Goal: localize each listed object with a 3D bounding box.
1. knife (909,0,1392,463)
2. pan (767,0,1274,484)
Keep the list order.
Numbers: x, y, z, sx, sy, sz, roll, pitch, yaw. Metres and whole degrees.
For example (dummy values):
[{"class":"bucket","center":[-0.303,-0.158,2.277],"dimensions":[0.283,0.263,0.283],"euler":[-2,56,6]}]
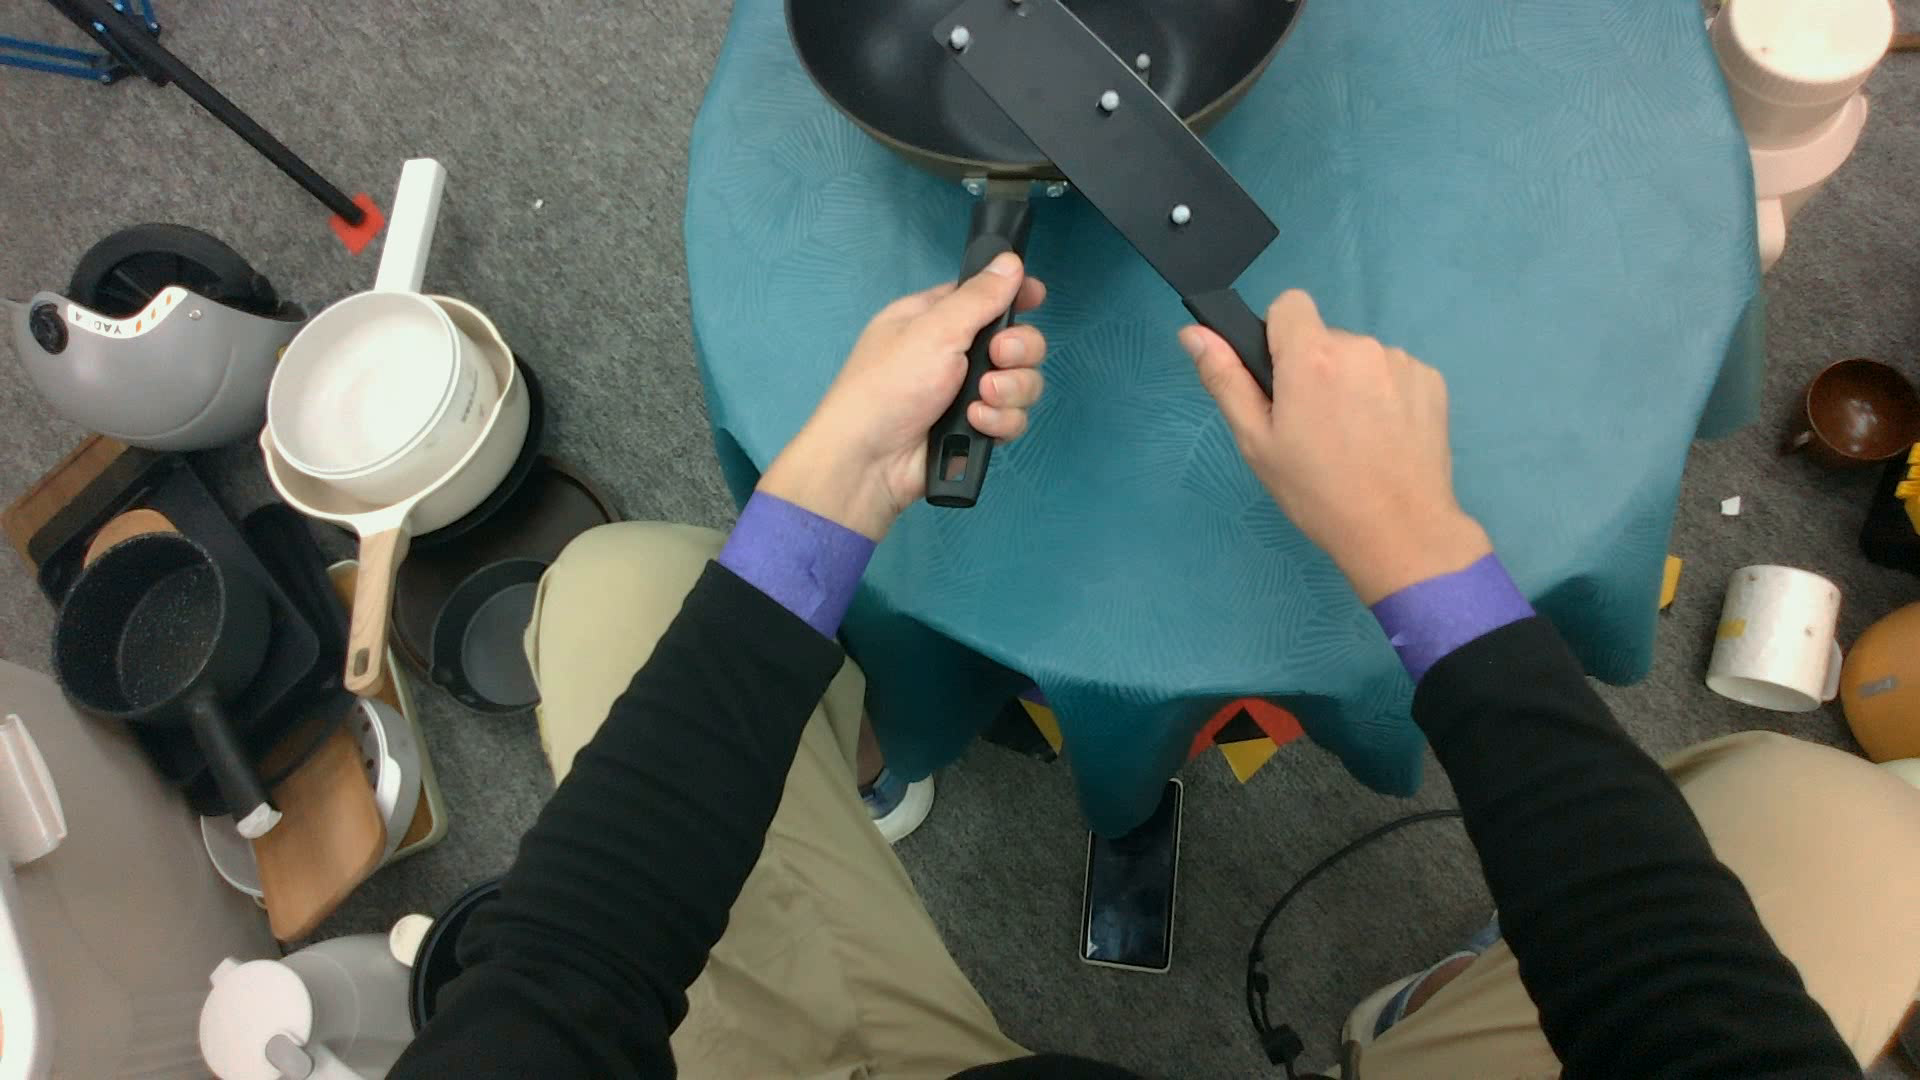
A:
[{"class":"knife","center":[0.097,-0.154,0.650],"dimensions":[0.081,0.021,0.302],"euler":[-41,91,-21]},{"class":"pan","center":[0.025,-0.222,0.733],"dimensions":[0.288,0.086,0.465],"euler":[5,66,11]}]
